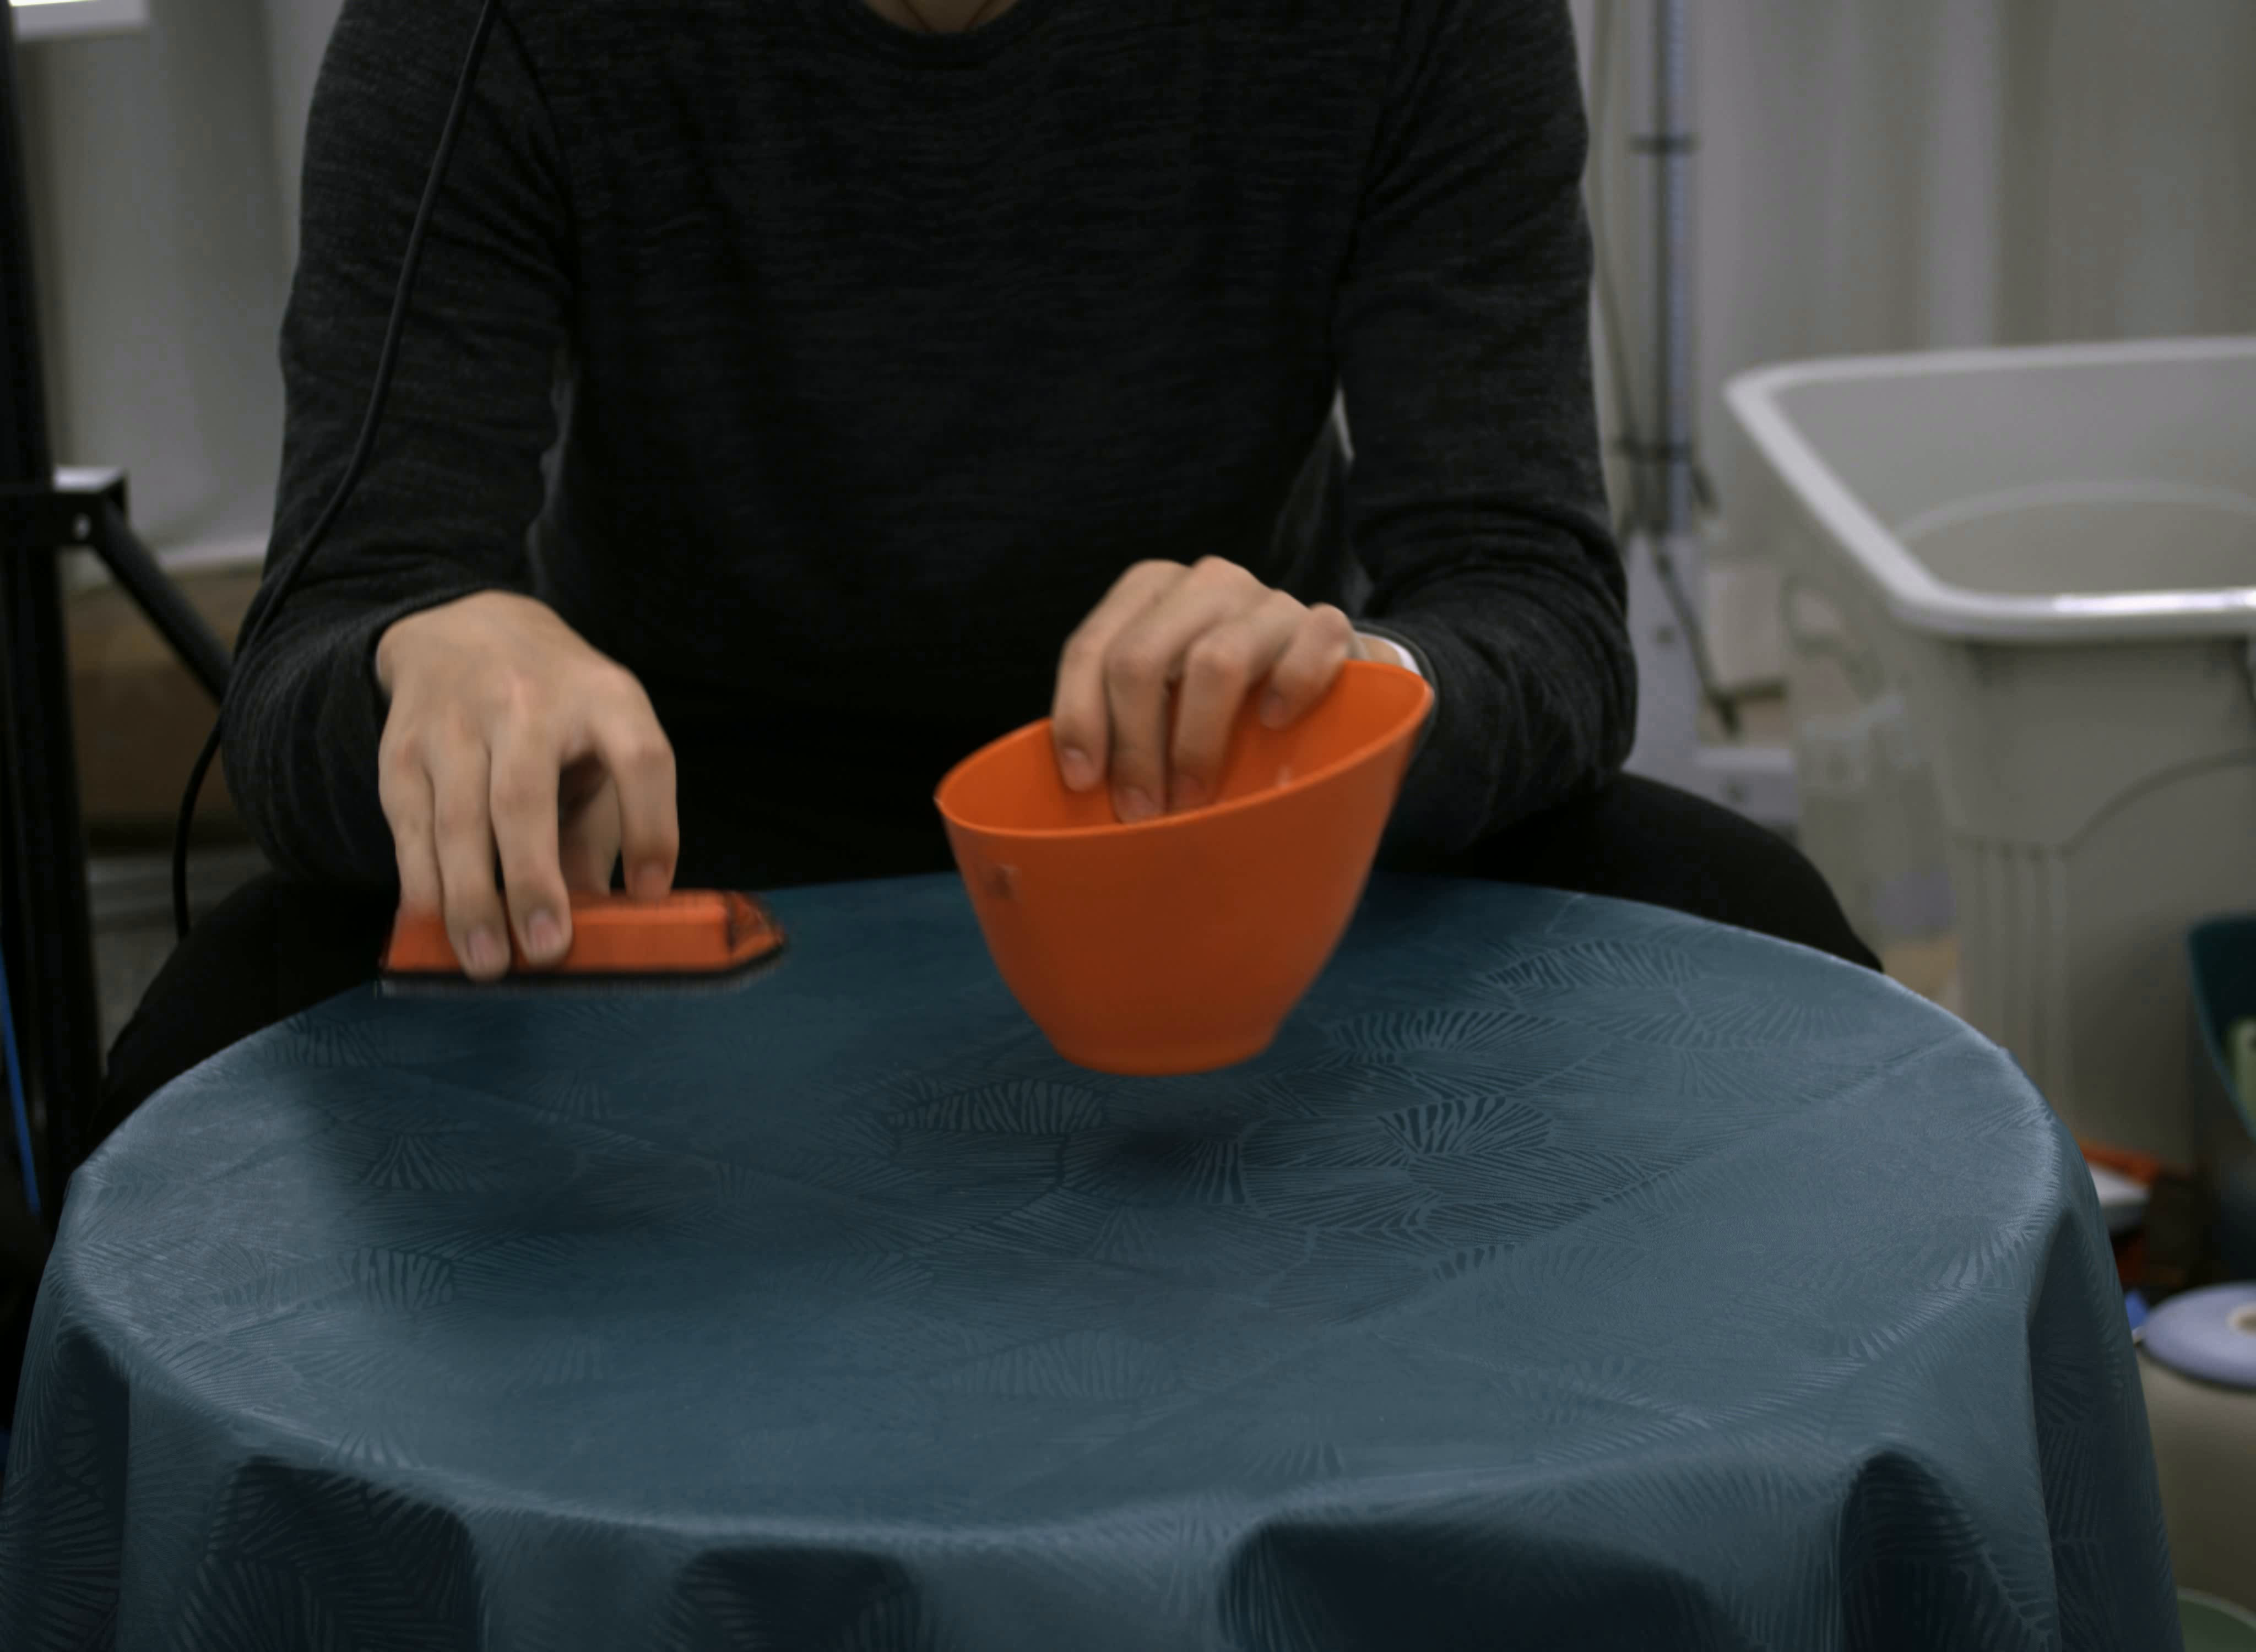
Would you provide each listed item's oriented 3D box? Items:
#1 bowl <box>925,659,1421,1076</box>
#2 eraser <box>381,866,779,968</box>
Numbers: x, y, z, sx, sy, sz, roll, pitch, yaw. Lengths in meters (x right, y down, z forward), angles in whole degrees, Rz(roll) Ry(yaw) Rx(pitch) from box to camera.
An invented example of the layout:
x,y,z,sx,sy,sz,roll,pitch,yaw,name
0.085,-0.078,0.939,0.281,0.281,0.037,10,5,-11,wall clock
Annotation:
x,y,z,sx,sy,sz,roll,pitch,yaw,name
0.015,0.014,1.571,0.147,0.104,0.149,-3,17,0,bowl
-0.158,0.026,1.541,0.109,0.023,0.058,0,7,15,eraser
